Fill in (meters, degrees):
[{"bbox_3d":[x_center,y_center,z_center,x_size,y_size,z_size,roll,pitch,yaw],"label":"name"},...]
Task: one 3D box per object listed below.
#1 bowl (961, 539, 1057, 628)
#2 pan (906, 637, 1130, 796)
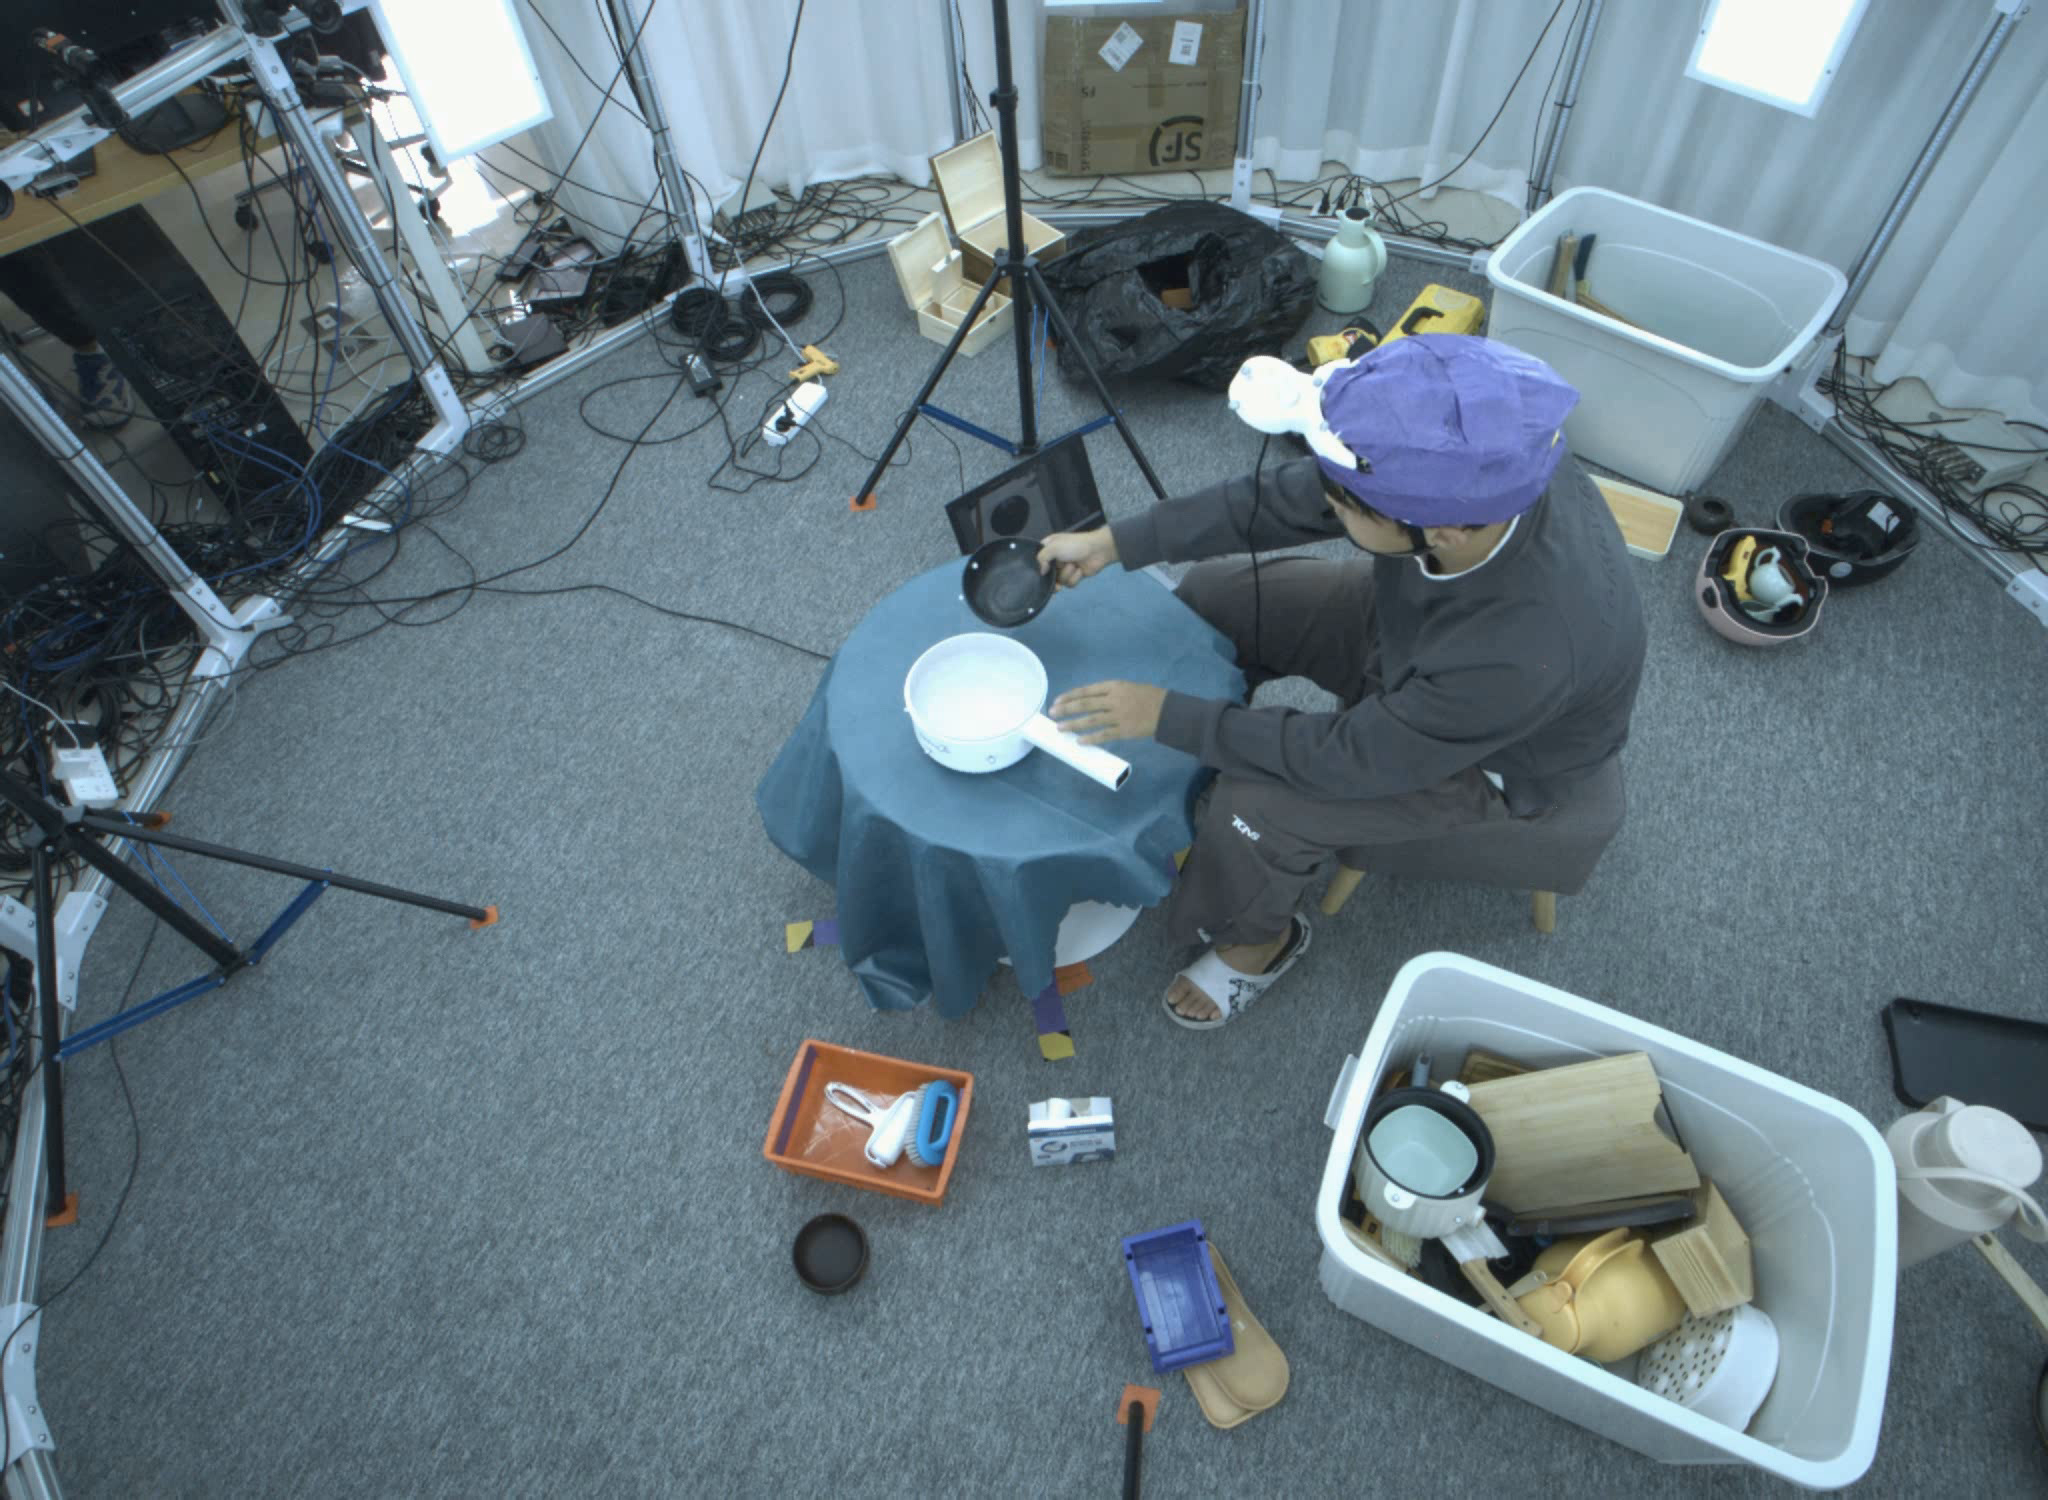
[{"bbox_3d":[-0.022,-0.240,1.821,0.136,0.067,0.170,16,60,7],"label":"bowl"},{"bbox_3d":[-0.006,-0.022,1.753,0.350,0.103,0.202,31,58,19],"label":"pan"}]
